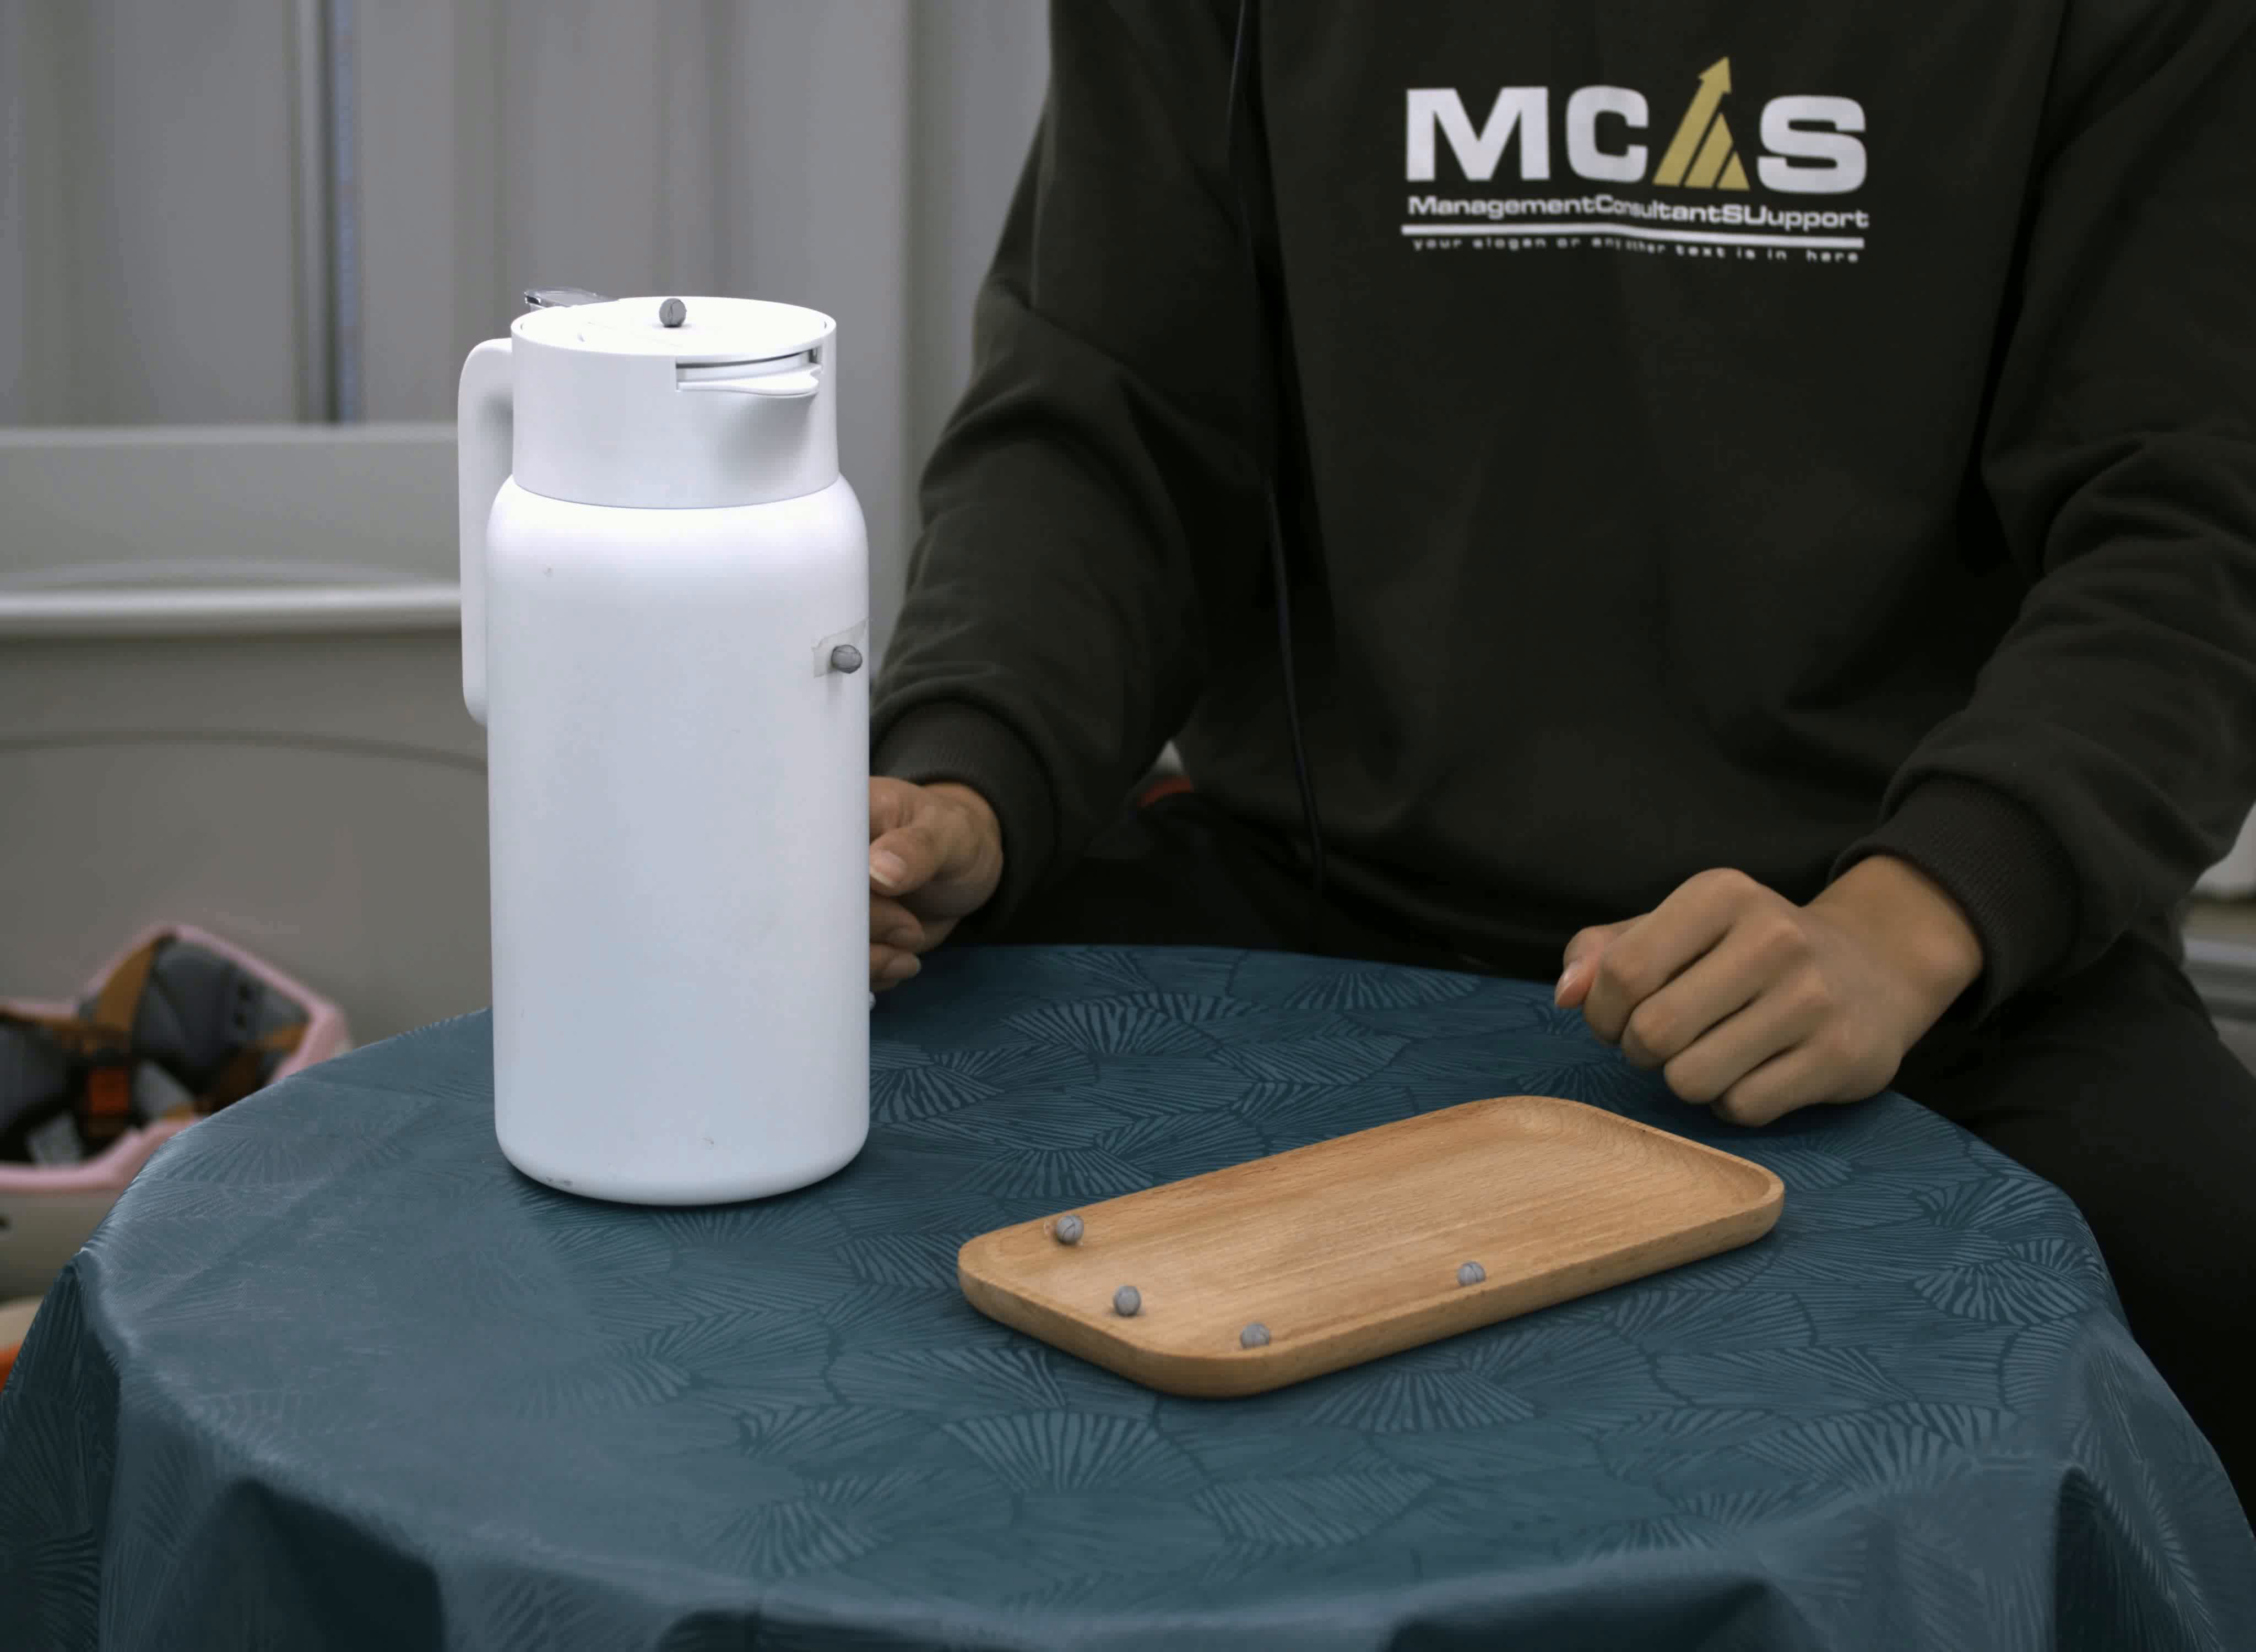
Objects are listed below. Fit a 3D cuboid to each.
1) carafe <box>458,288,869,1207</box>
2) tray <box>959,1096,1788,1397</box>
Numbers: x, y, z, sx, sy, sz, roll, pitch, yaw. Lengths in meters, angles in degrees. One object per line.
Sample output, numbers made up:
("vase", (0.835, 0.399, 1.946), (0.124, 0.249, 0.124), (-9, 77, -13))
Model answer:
("carafe", (-0.151, -0.028, 1.630), (0.124, 0.271, 0.170), (-14, 22, -38))
("tray", (0.075, 0.123, 1.568), (0.252, 0.023, 0.129), (-11, 22, -38))
